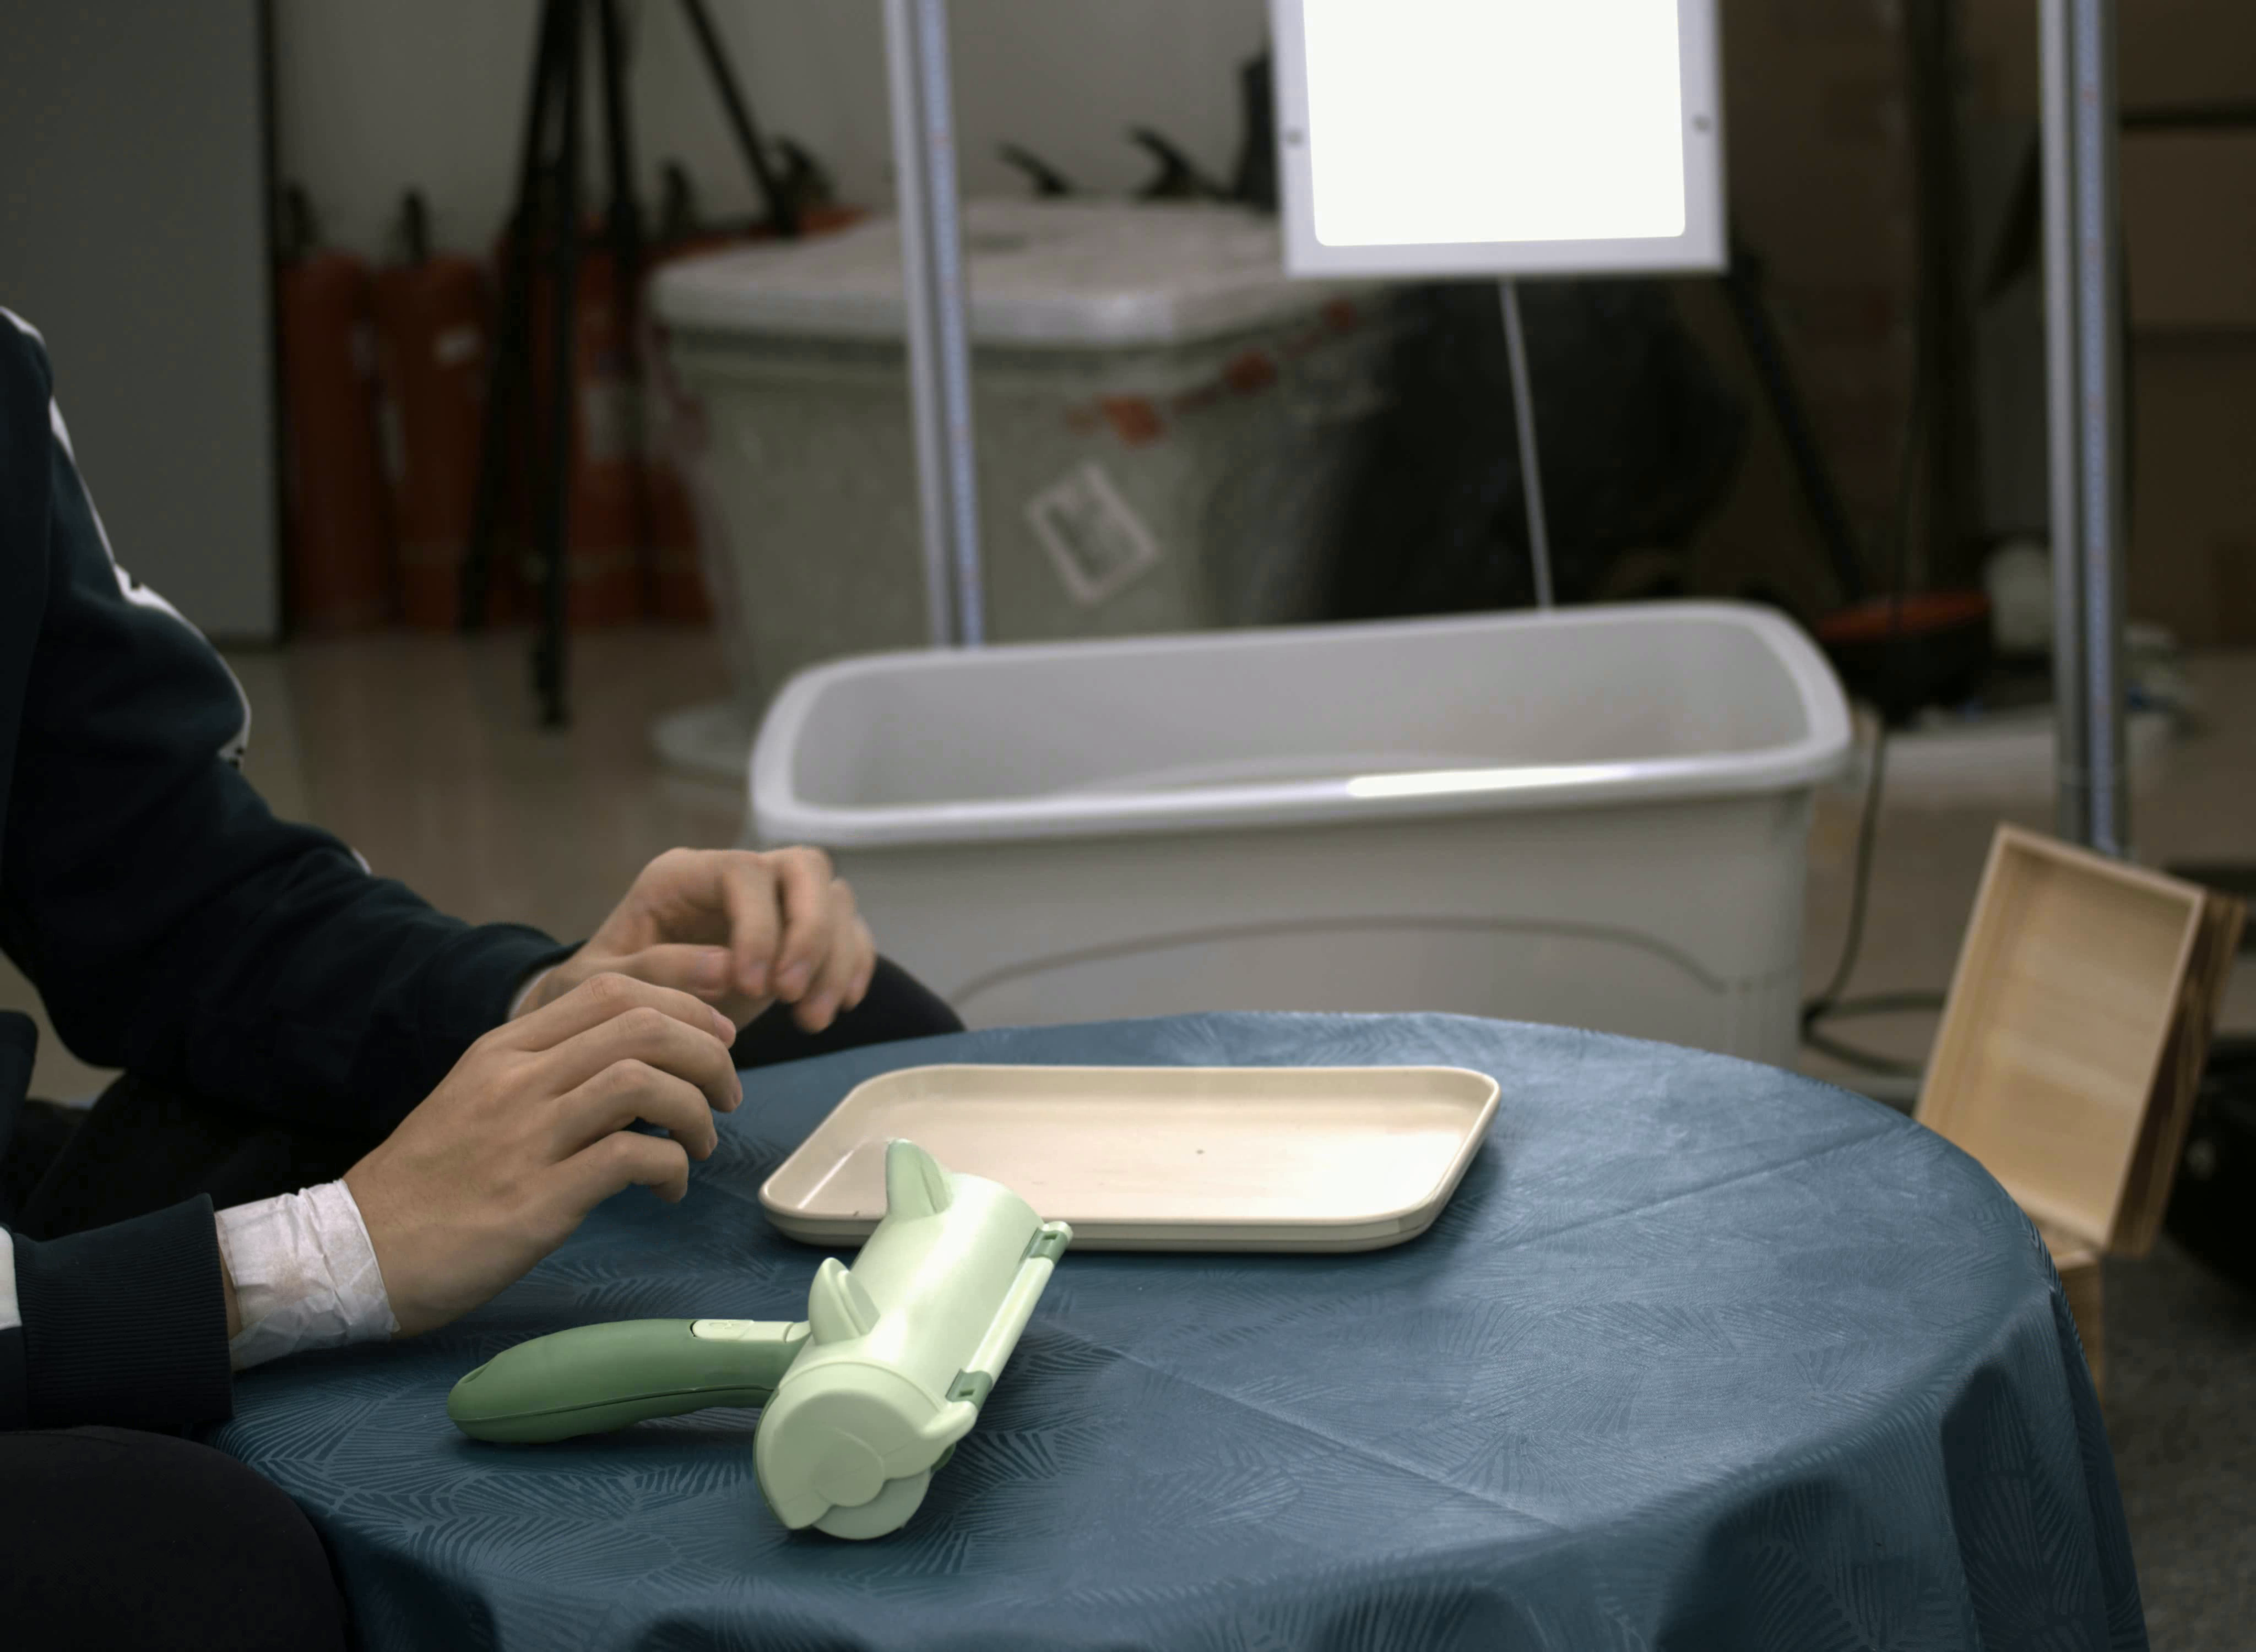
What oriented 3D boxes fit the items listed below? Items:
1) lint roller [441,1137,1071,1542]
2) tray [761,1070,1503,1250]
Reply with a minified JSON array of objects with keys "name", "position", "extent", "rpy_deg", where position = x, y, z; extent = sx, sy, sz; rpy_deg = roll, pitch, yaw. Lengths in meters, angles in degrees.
[{"name":"lint roller","position":[-0.122,0.150,1.682],"extent":[0.184,0.082,0.196],"rpy_deg":[2,15,10]},{"name":"tray","position":[0.004,0.116,1.901],"extent":[0.242,0.017,0.169],"rpy_deg":[-1,14,16]}]
